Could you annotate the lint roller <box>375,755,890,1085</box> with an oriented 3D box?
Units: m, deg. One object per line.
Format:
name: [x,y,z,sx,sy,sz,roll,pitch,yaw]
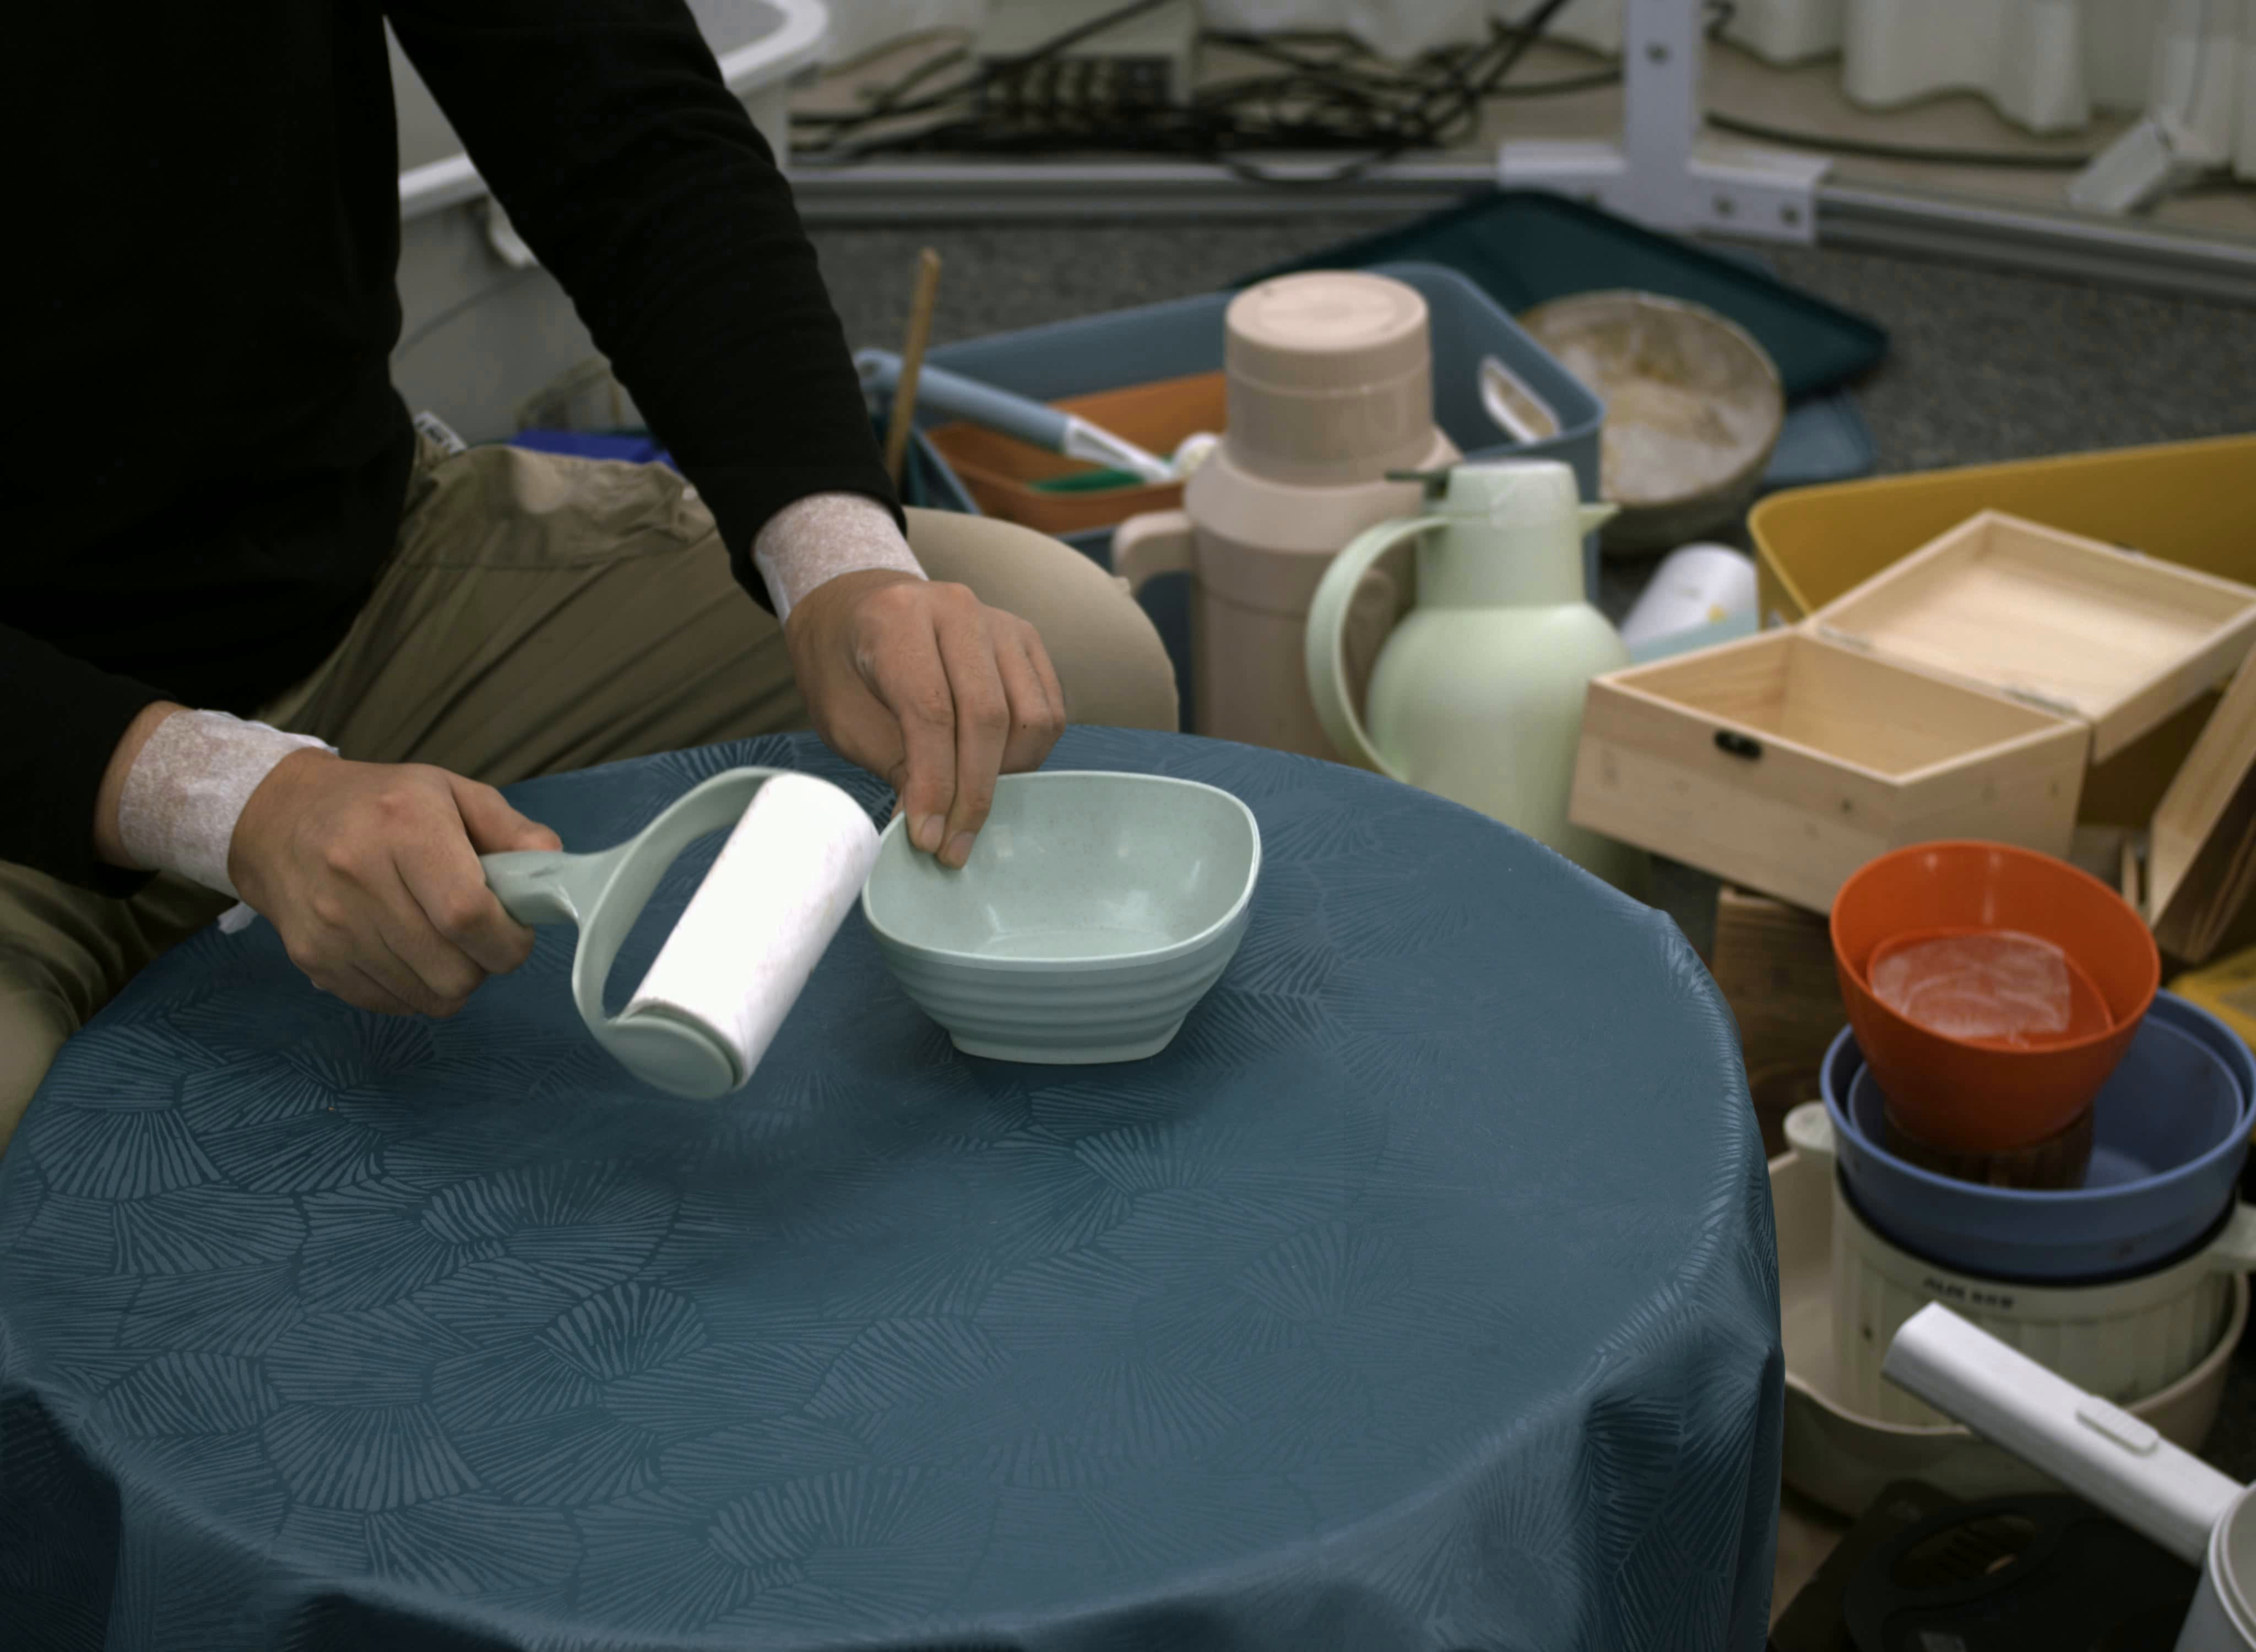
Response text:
lint roller: [-0.180,0.027,1.893,0.196,0.048,0.119,5,51,33]

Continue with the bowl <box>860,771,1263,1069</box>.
bowl: [-0.022,0.039,1.963,0.151,0.058,0.154,-1,28,1]
